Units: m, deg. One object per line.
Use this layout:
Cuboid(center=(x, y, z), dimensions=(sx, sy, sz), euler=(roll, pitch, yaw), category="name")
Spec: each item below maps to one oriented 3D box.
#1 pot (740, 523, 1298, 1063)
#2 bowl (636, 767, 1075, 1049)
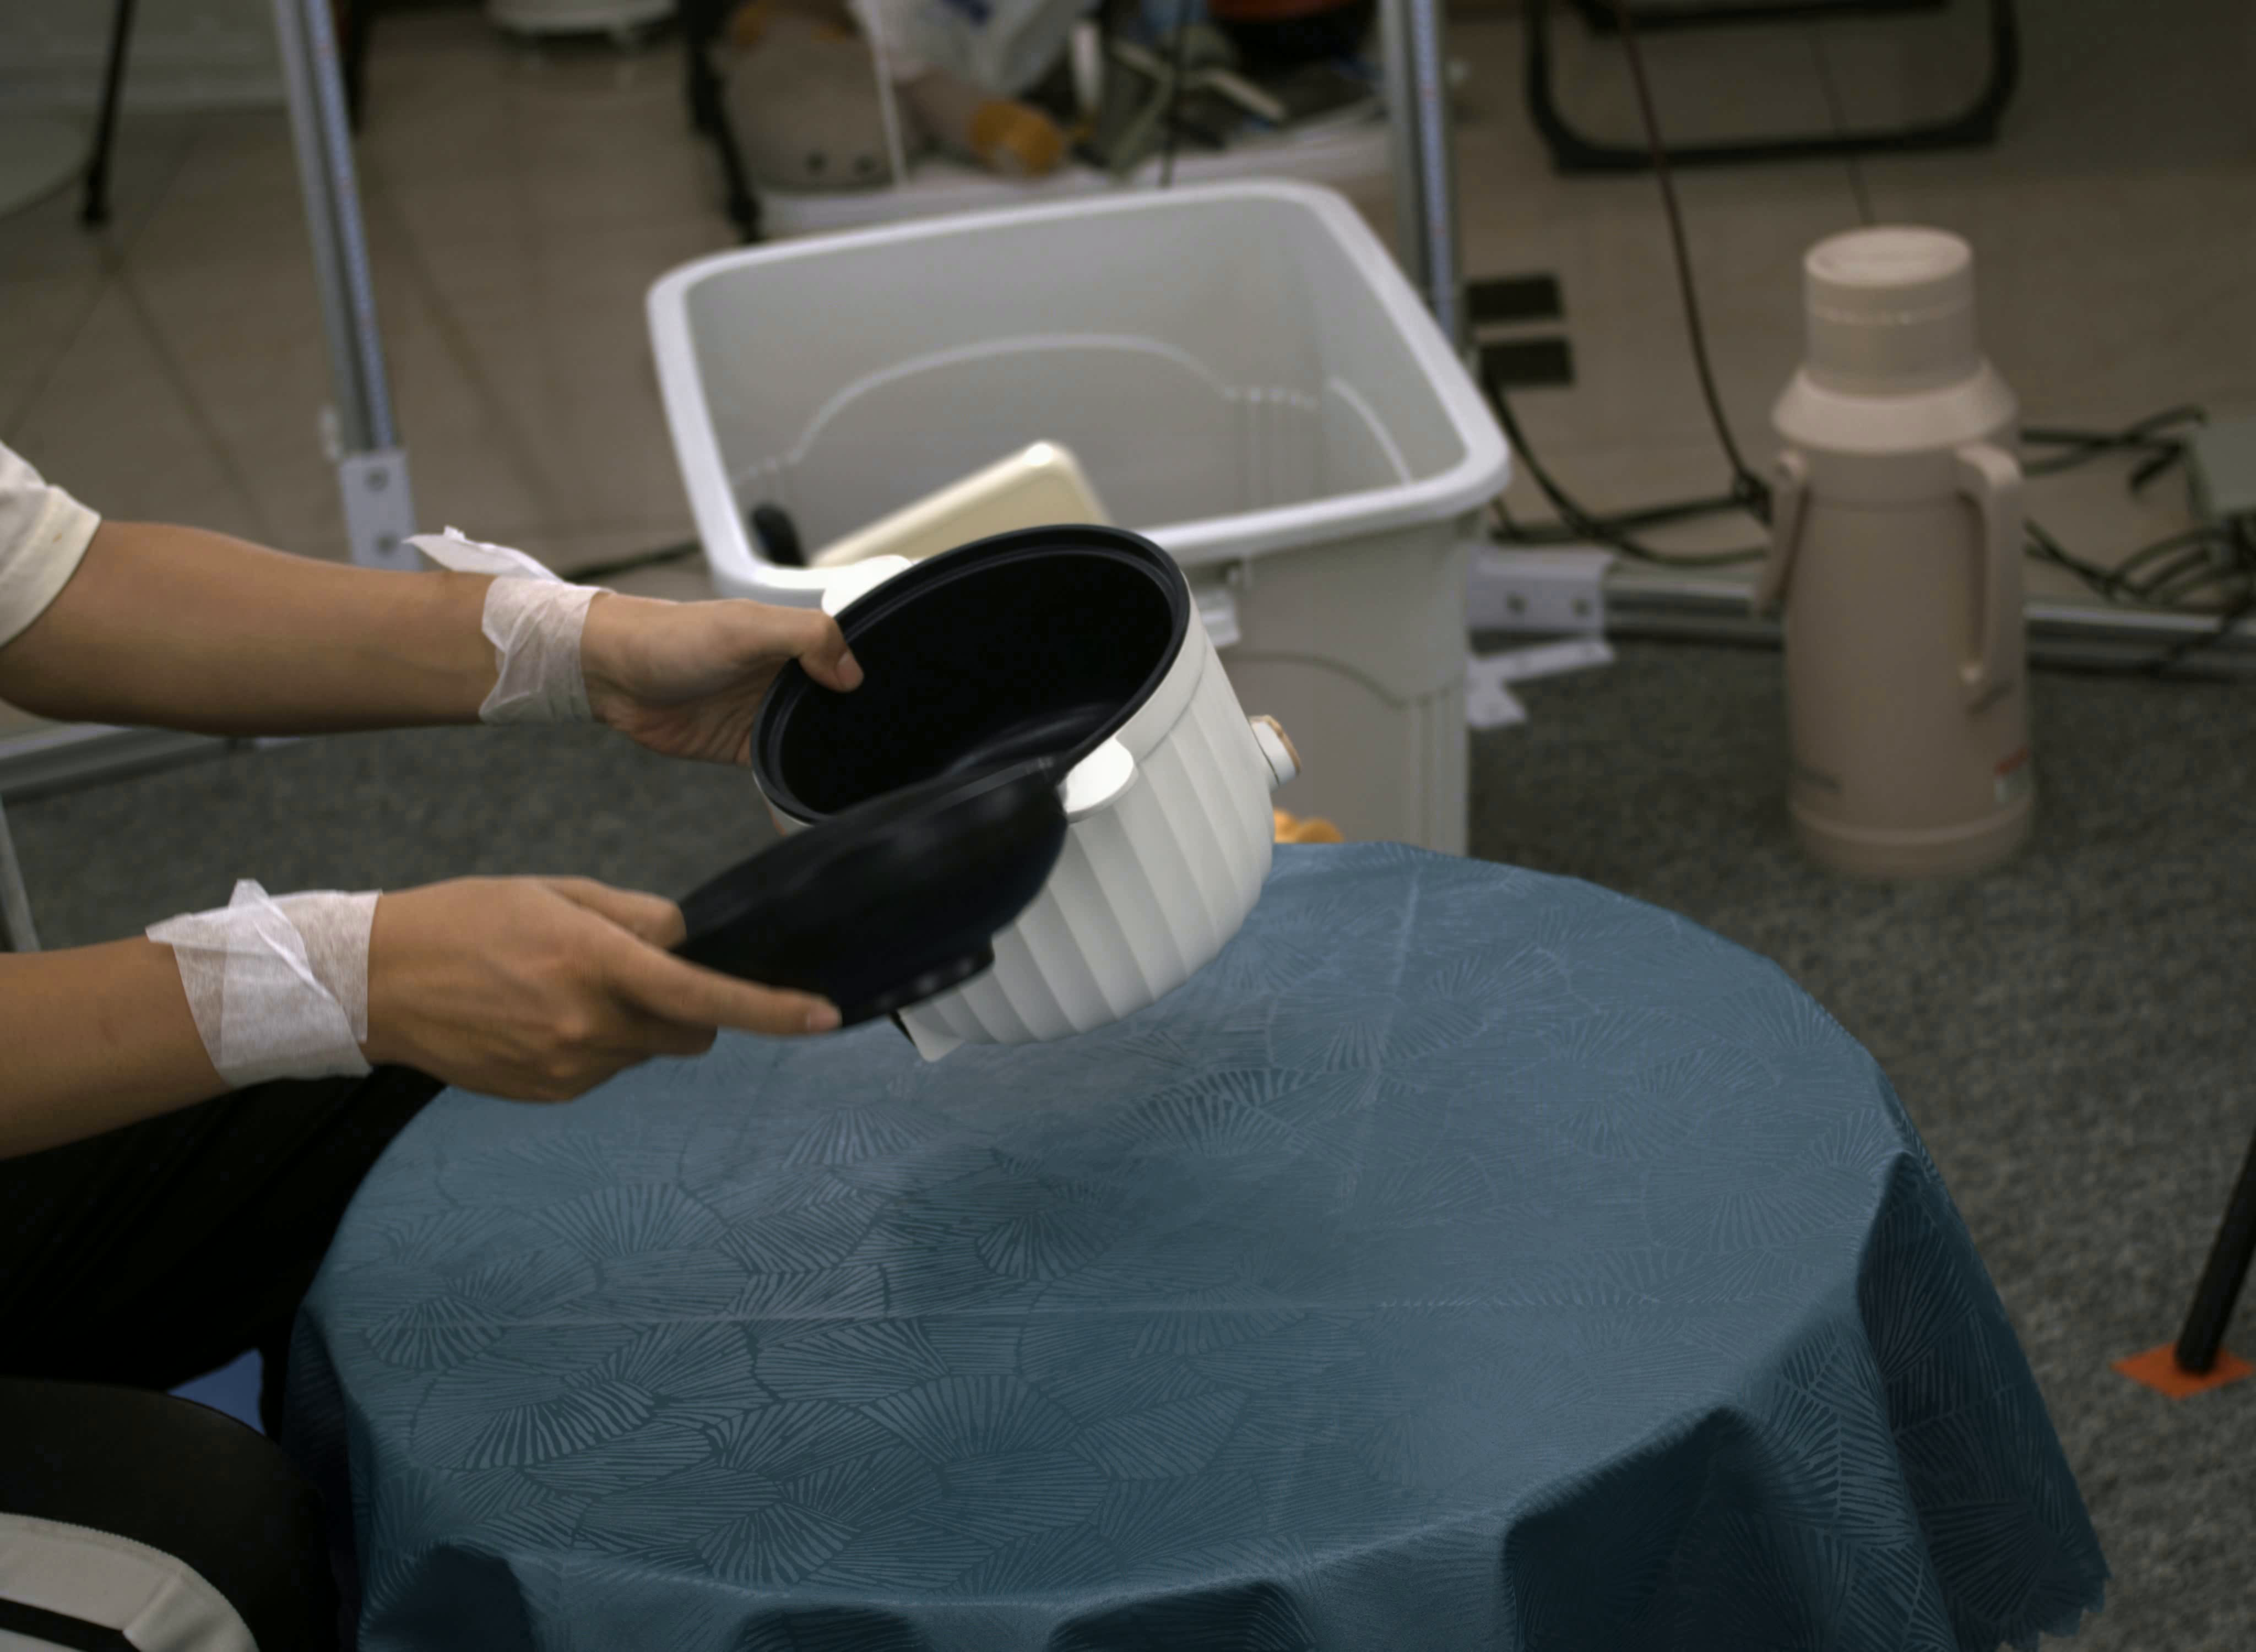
Cuboid(center=(-0.034, -0.013, 2.194), dimensions=(0.190, 0.145, 0.237), euler=(-36, 36, -9), category="pot")
Cuboid(center=(-0.087, 0.035, 1.976), dimensions=(0.169, 0.067, 0.137), euler=(-25, 7, -21), category="bowl")
